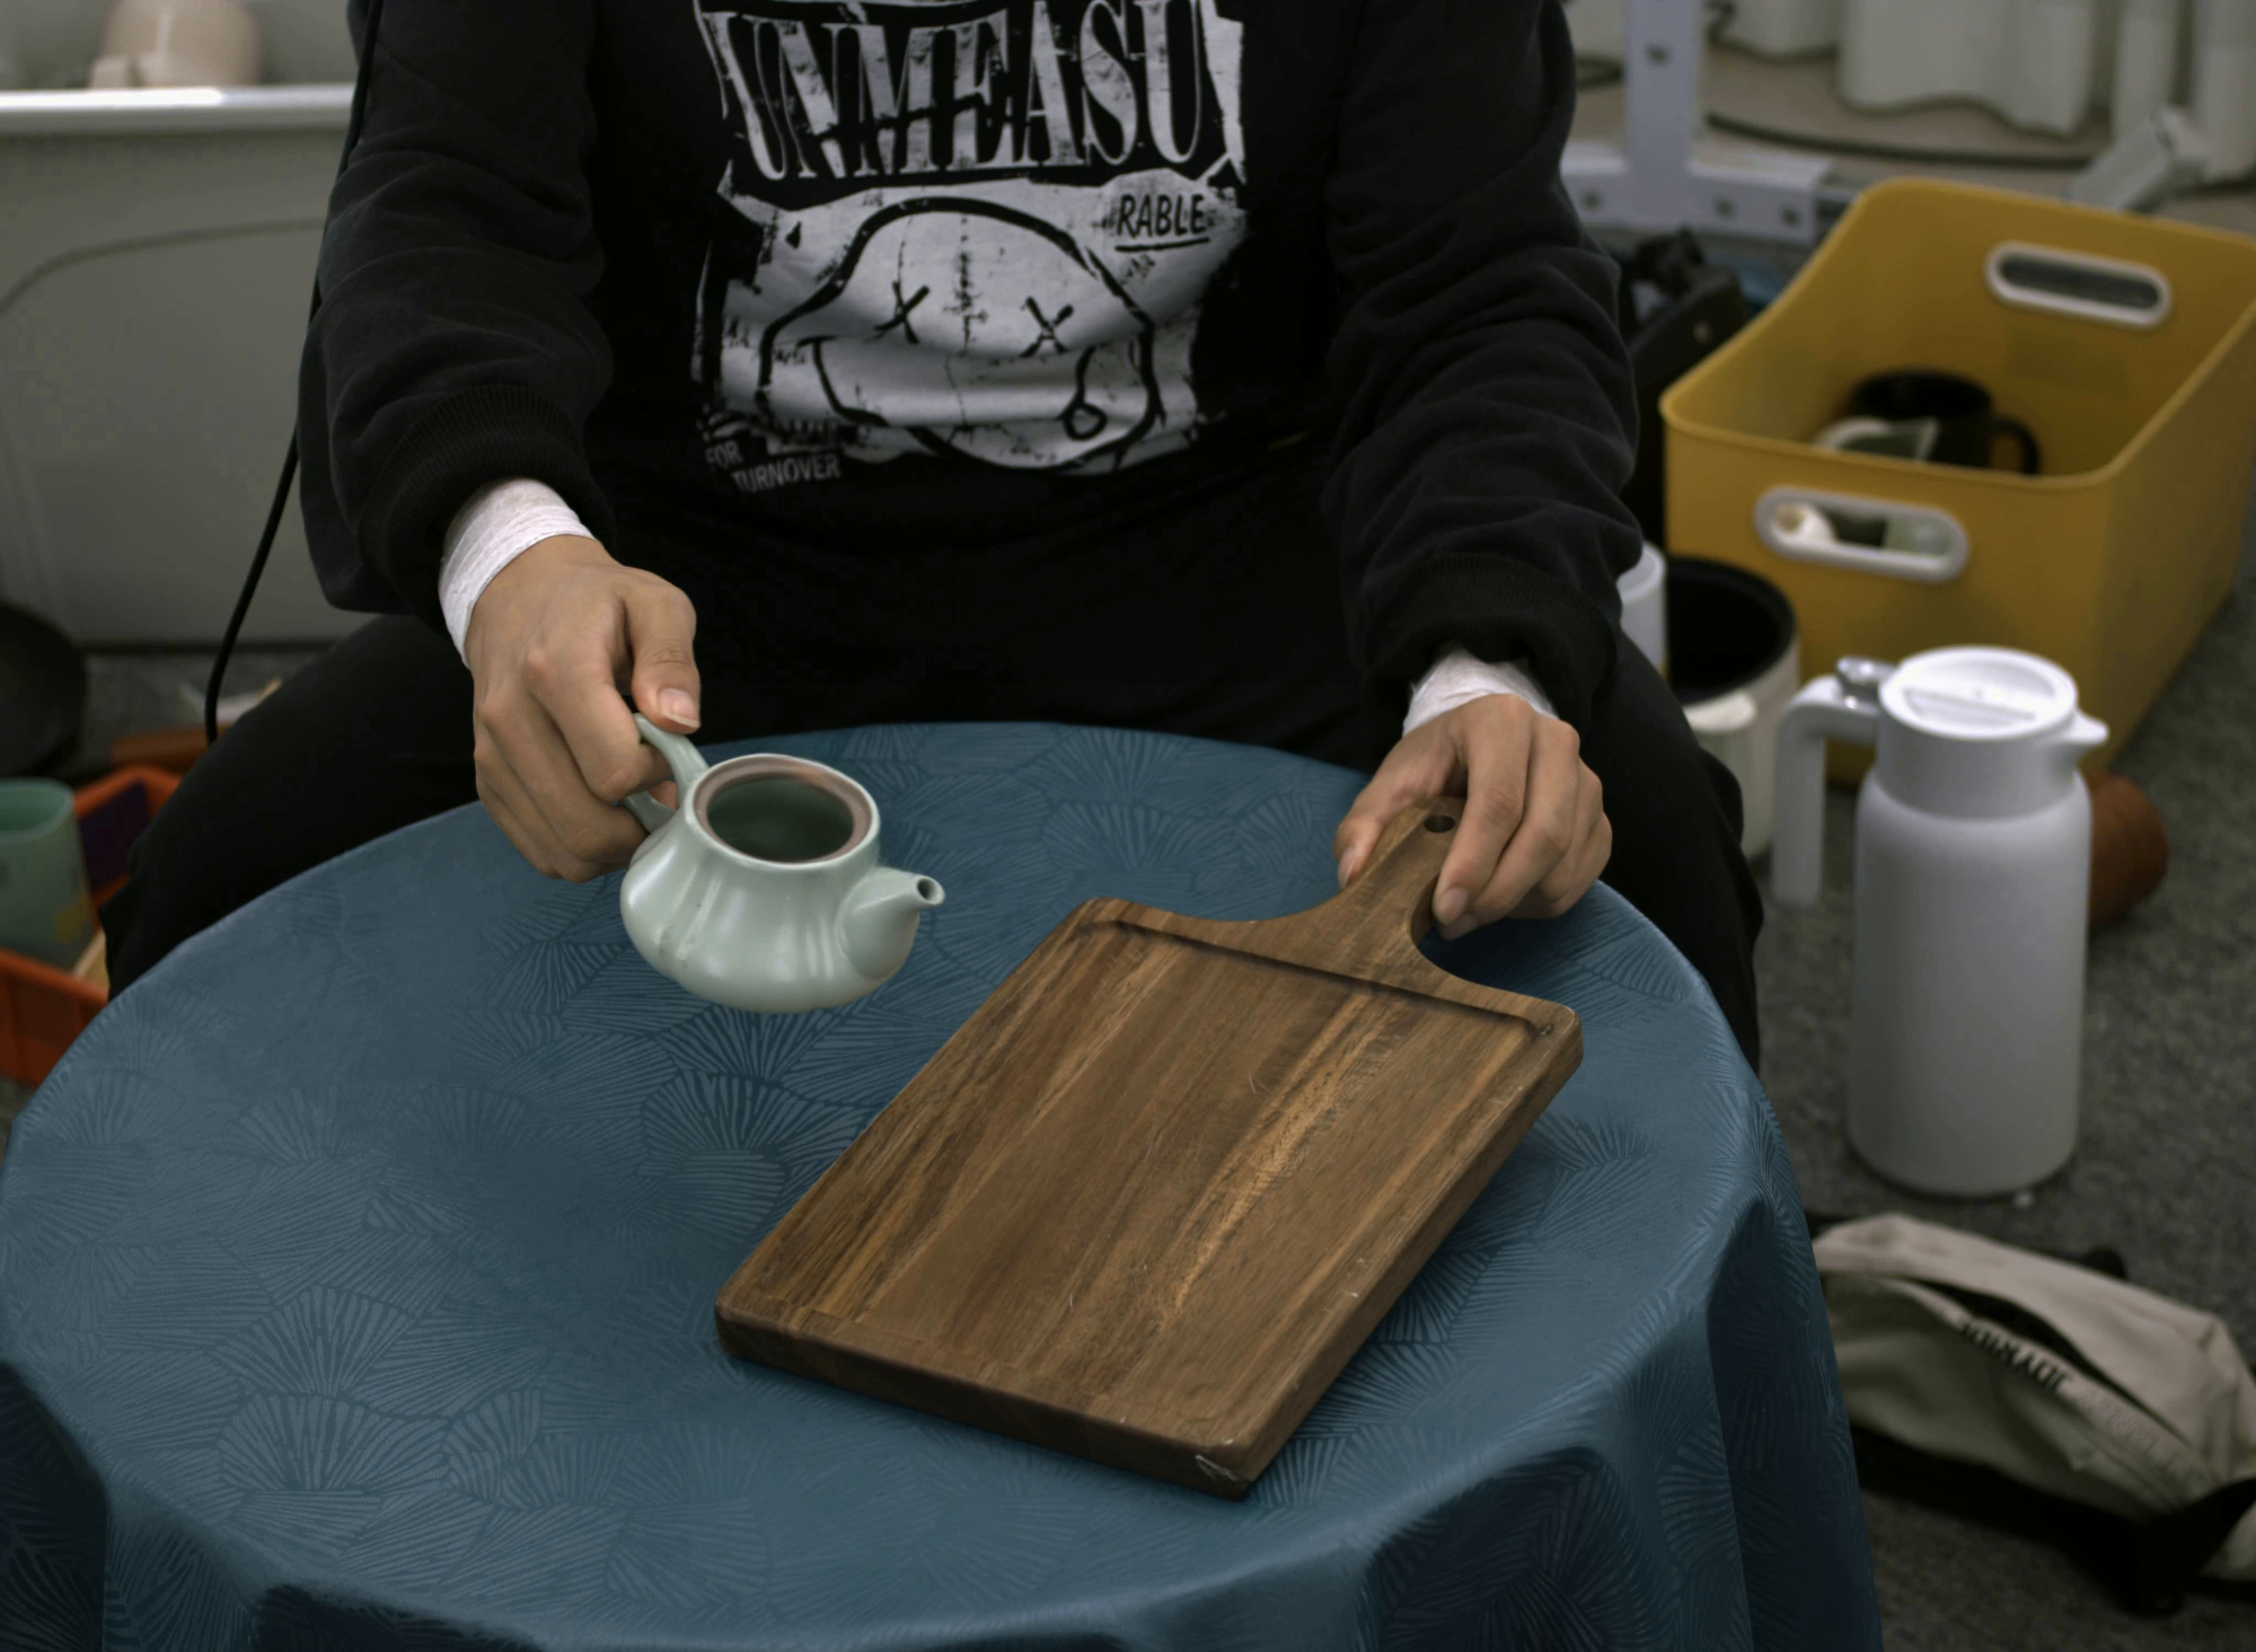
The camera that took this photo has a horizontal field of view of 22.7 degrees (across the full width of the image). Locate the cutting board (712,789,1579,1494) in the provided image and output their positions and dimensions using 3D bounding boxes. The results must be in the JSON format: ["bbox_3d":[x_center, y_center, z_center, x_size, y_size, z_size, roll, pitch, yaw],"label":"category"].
[{"bbox_3d":[0.032,0.088,1.859,0.200,0.023,0.358,12,37,26],"label":"cutting board"}]

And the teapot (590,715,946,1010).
[{"bbox_3d":[-0.118,0.013,1.800,0.137,0.060,0.097,28,40,24],"label":"teapot"}]
